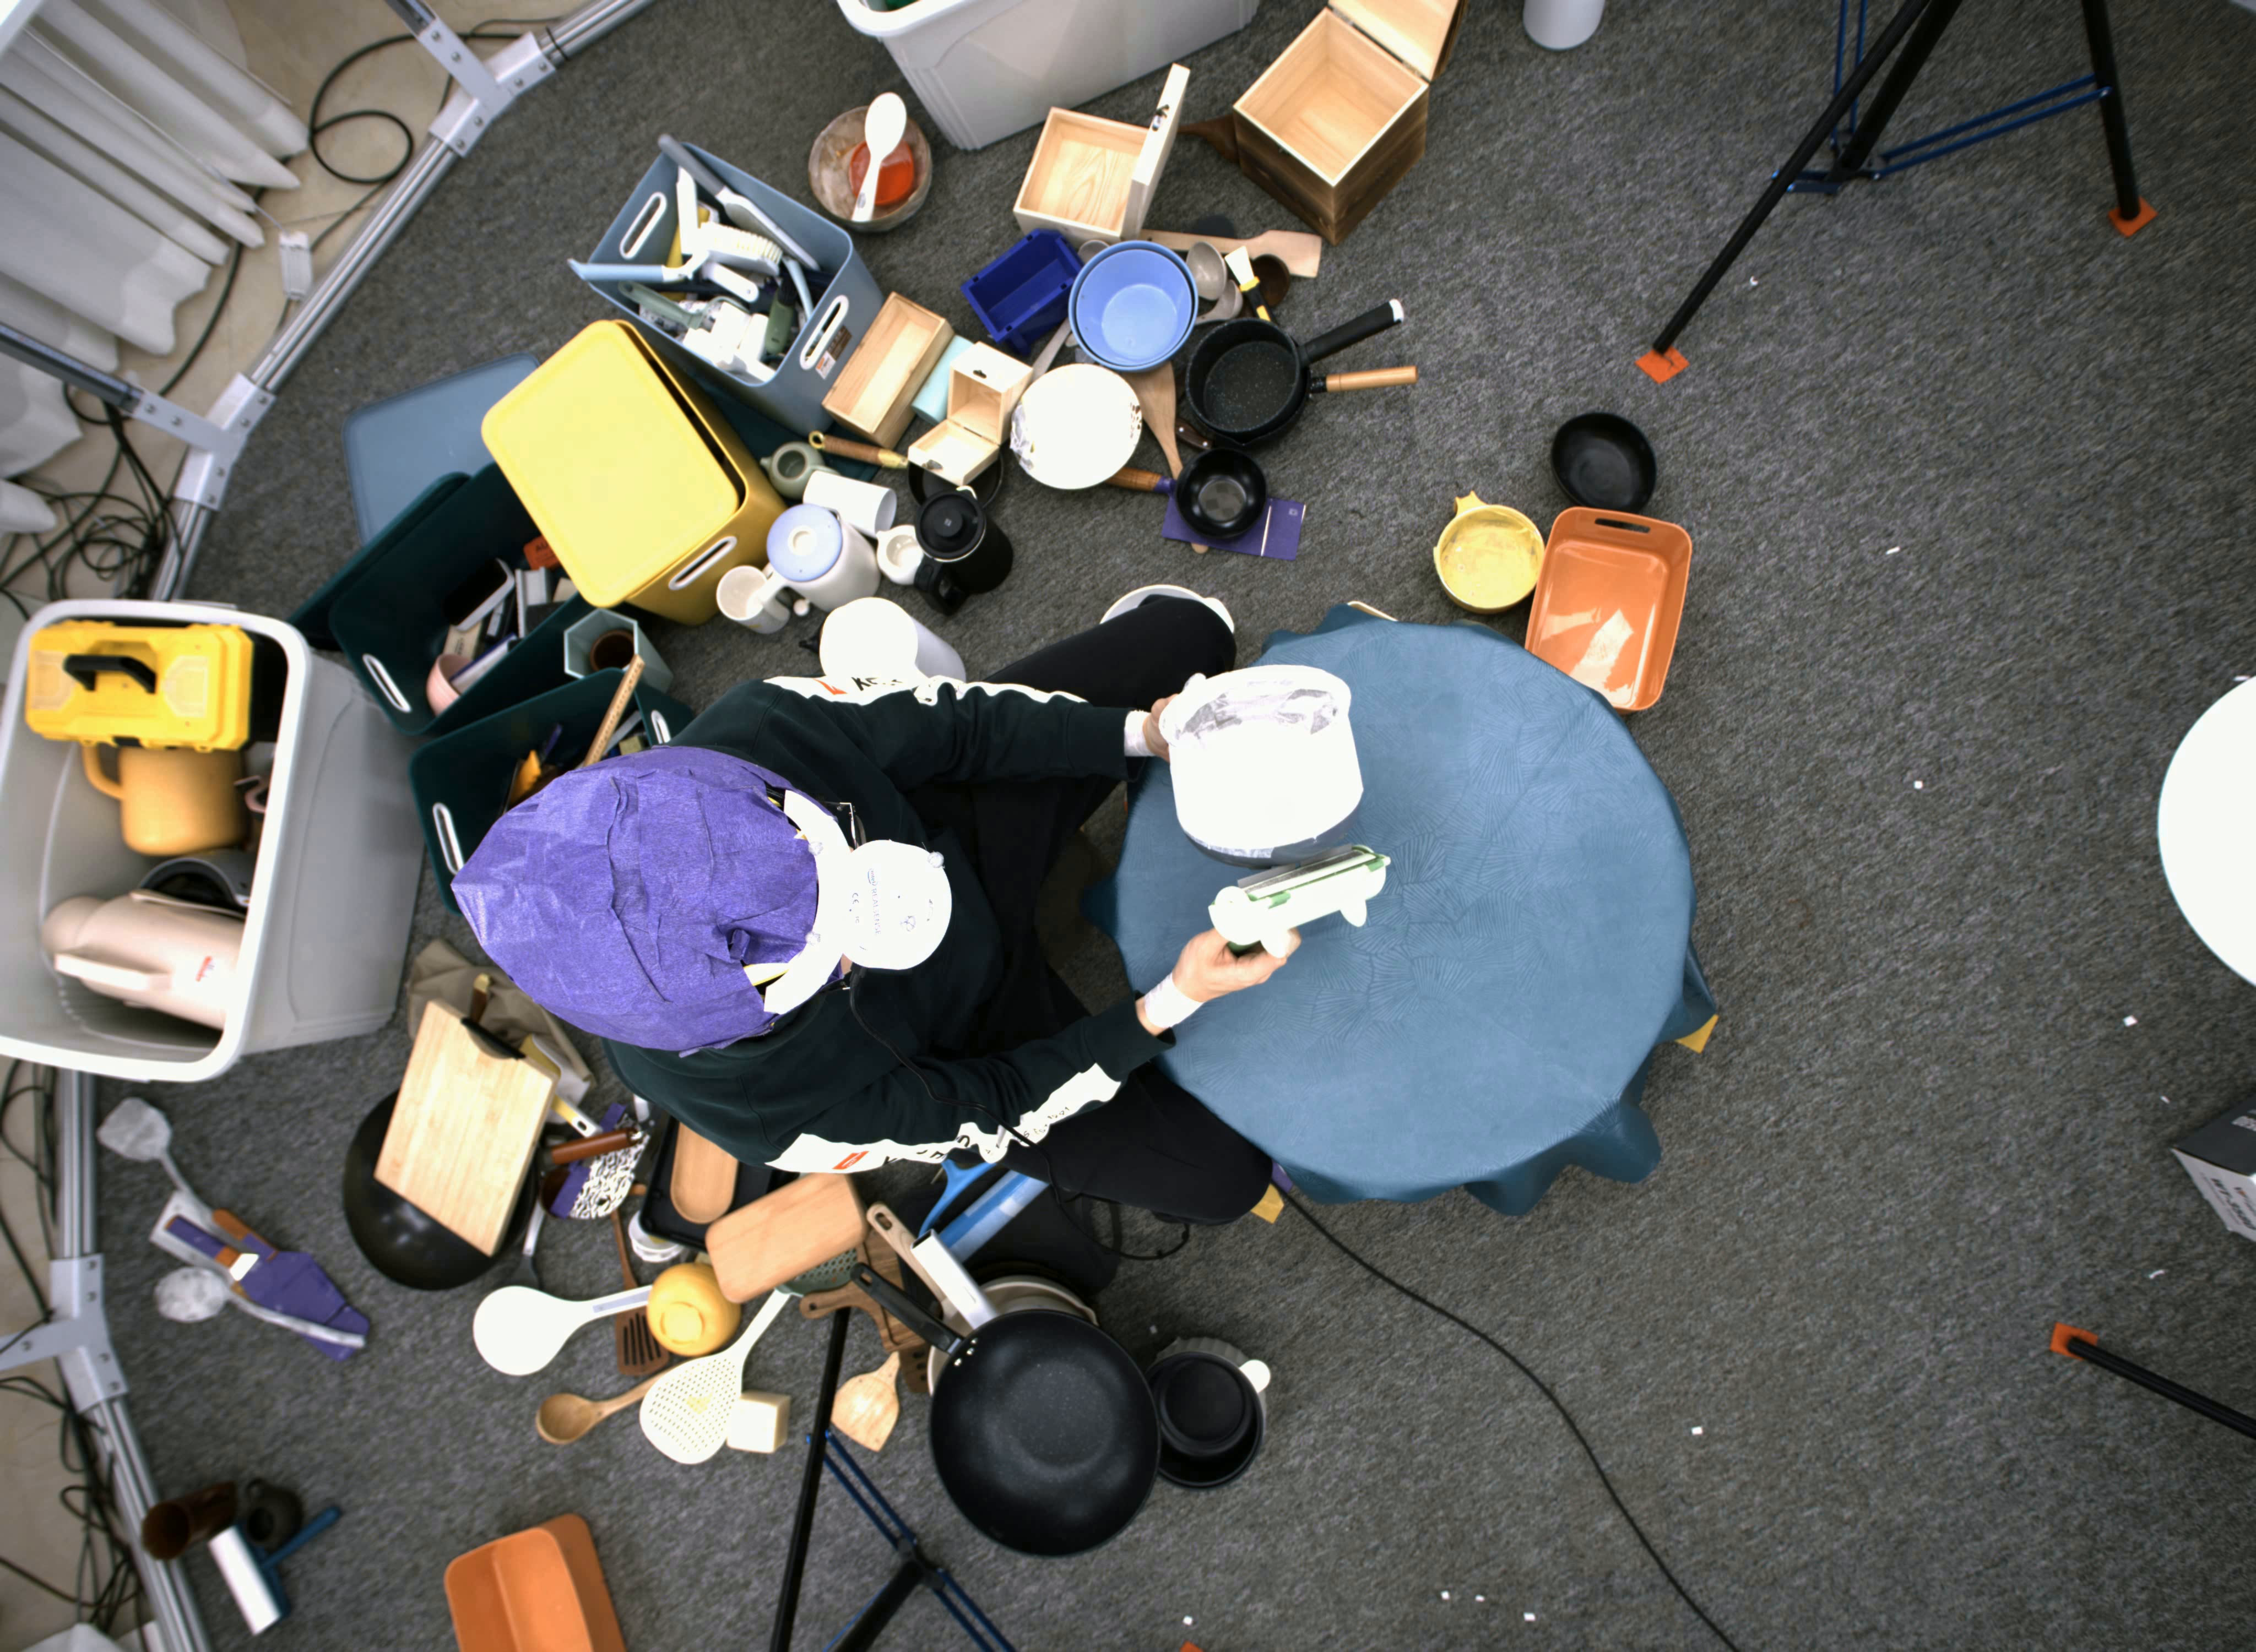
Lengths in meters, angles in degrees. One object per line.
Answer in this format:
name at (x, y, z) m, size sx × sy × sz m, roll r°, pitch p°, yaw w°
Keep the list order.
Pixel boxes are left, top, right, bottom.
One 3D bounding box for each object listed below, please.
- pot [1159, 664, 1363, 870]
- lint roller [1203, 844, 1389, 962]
pot at (0.113, -0.065, 1.306) m, size 0.177 × 0.231 × 0.139 m, roll -25°, pitch 124°, yaw -20°
lint roller at (0.138, 0.099, 1.308) m, size 0.081 × 0.196 × 0.188 m, roll 57°, pitch 136°, yaw 19°
